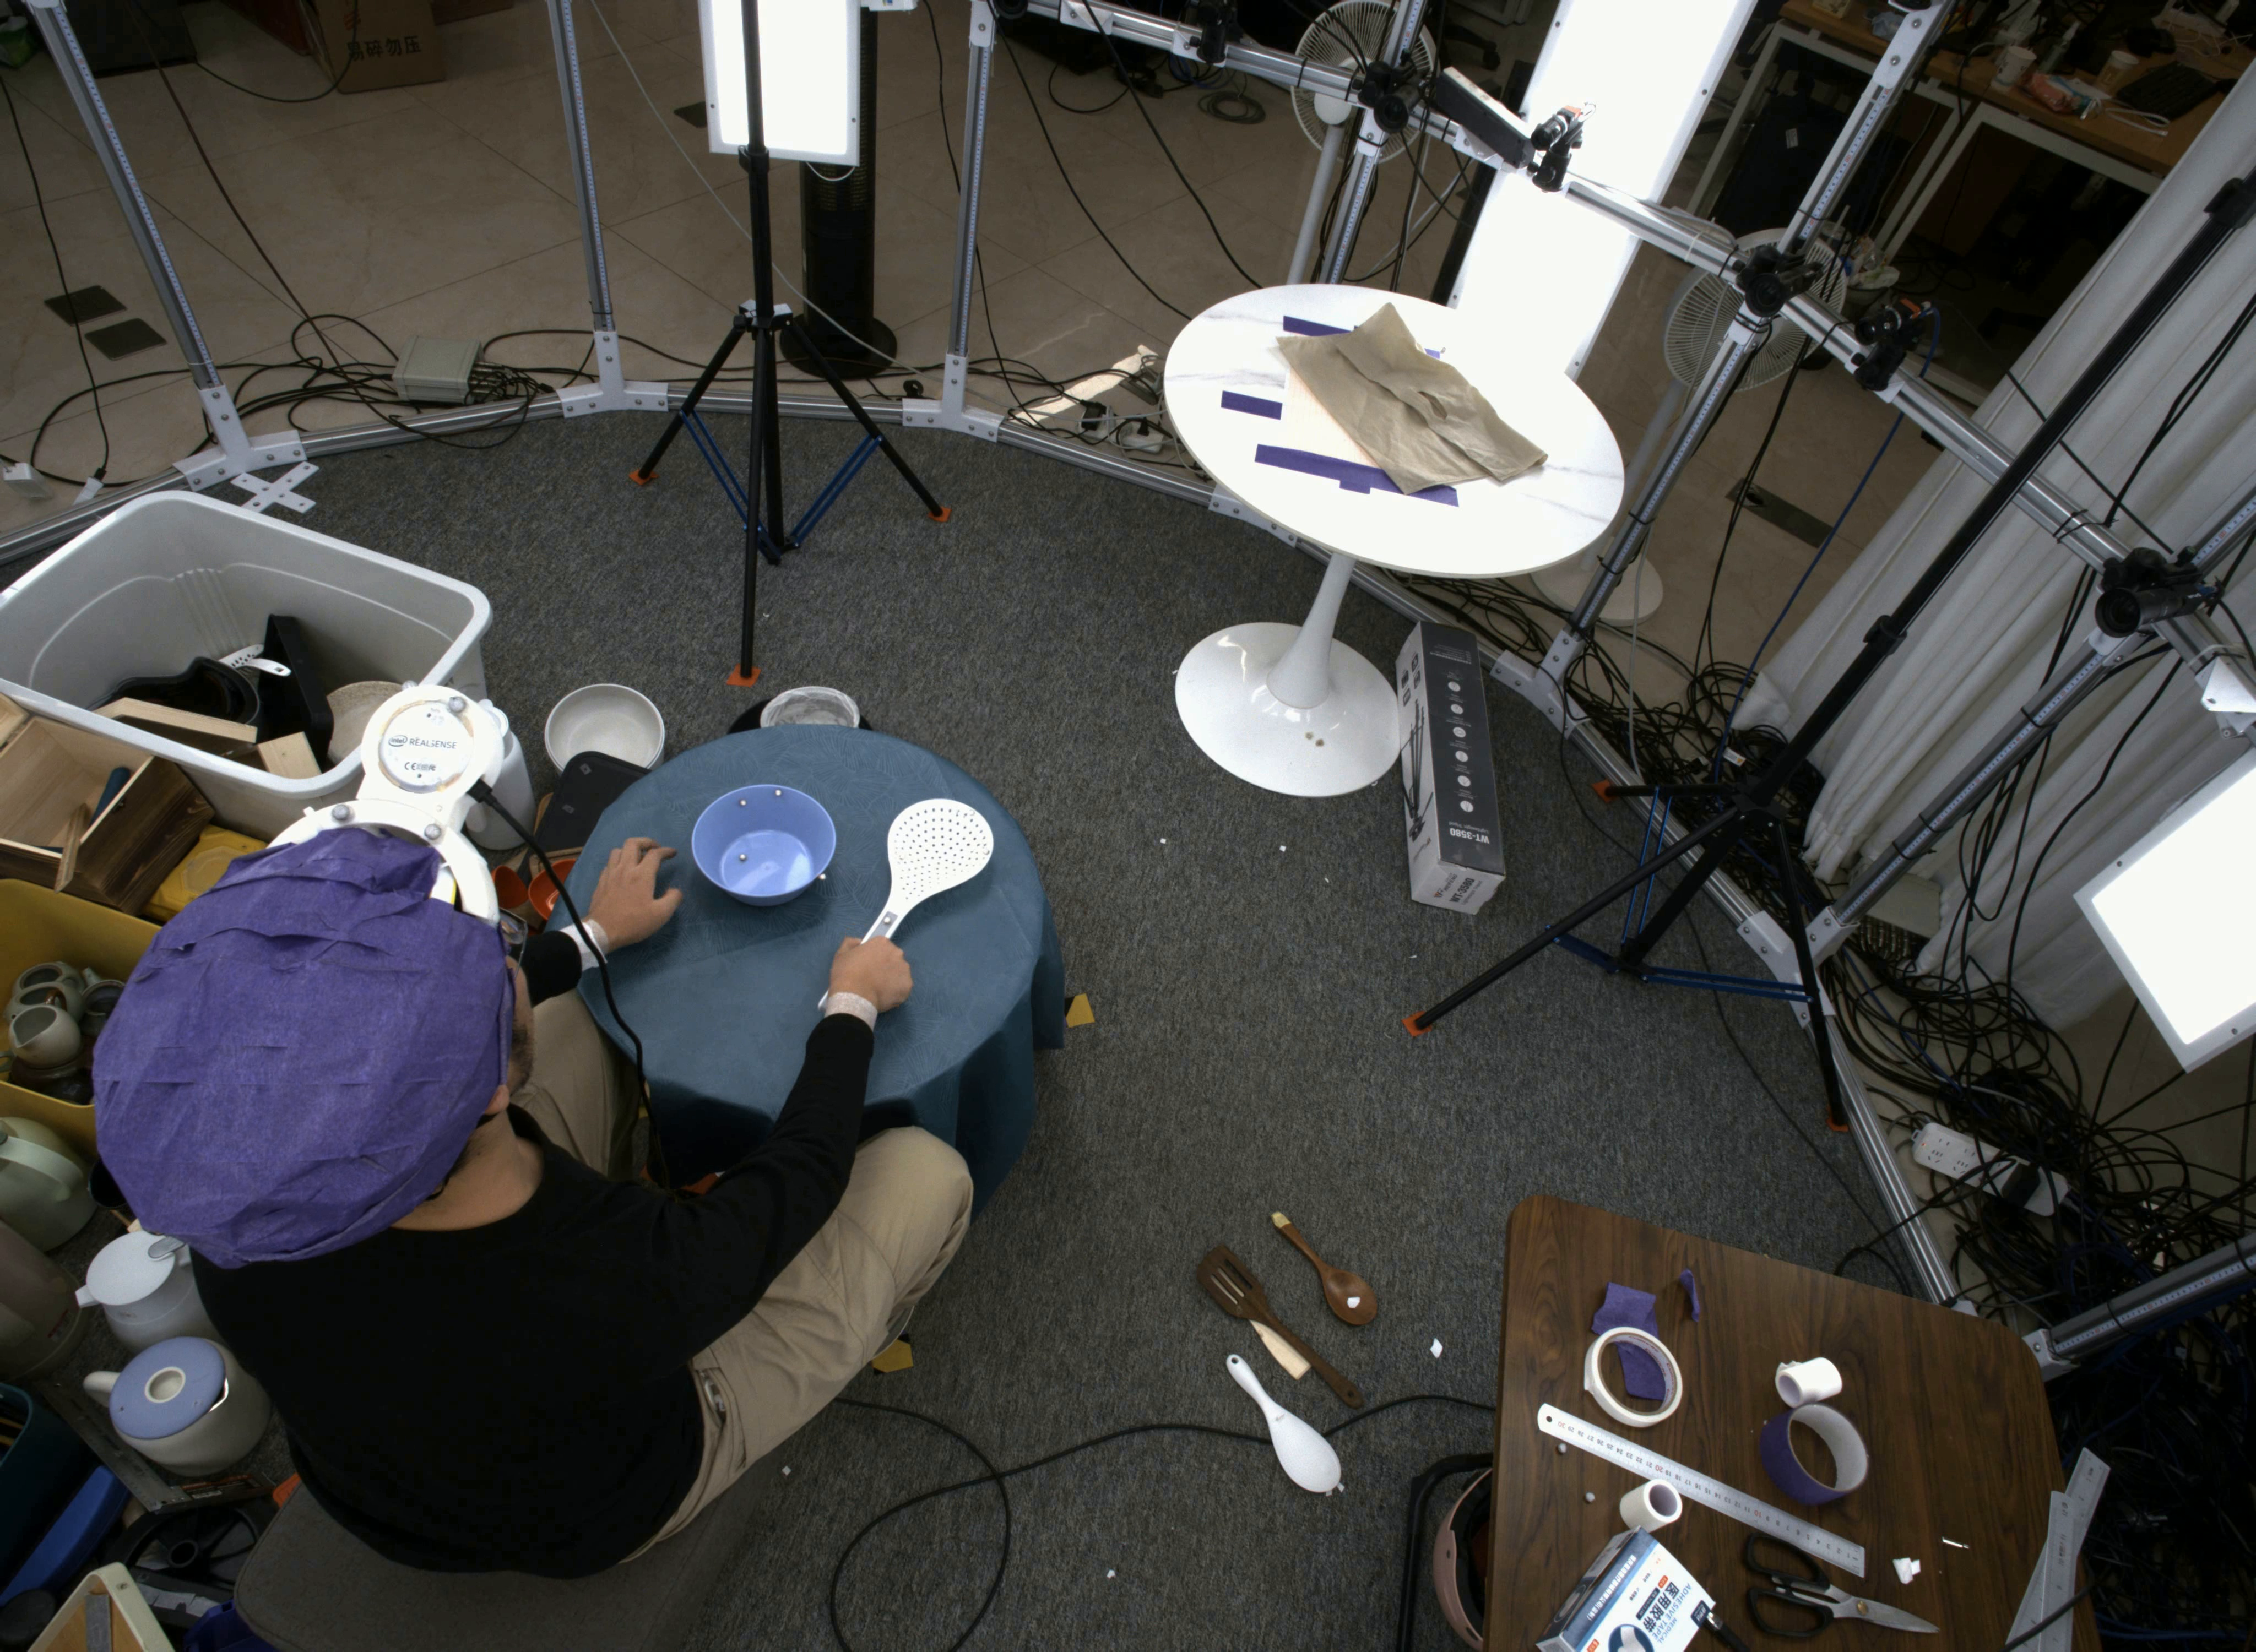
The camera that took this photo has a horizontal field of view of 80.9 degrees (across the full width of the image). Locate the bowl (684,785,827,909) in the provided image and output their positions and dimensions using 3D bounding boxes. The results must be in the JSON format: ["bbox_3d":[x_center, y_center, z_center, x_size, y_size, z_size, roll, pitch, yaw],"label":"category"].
[{"bbox_3d":[-0.469,0.036,1.635,0.176,0.071,0.173,8,53,-9],"label":"bowl"}]

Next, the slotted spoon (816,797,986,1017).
[{"bbox_3d":[-0.294,0.096,1.642,0.134,0.046,0.347,25,49,4],"label":"slotted spoon"}]
